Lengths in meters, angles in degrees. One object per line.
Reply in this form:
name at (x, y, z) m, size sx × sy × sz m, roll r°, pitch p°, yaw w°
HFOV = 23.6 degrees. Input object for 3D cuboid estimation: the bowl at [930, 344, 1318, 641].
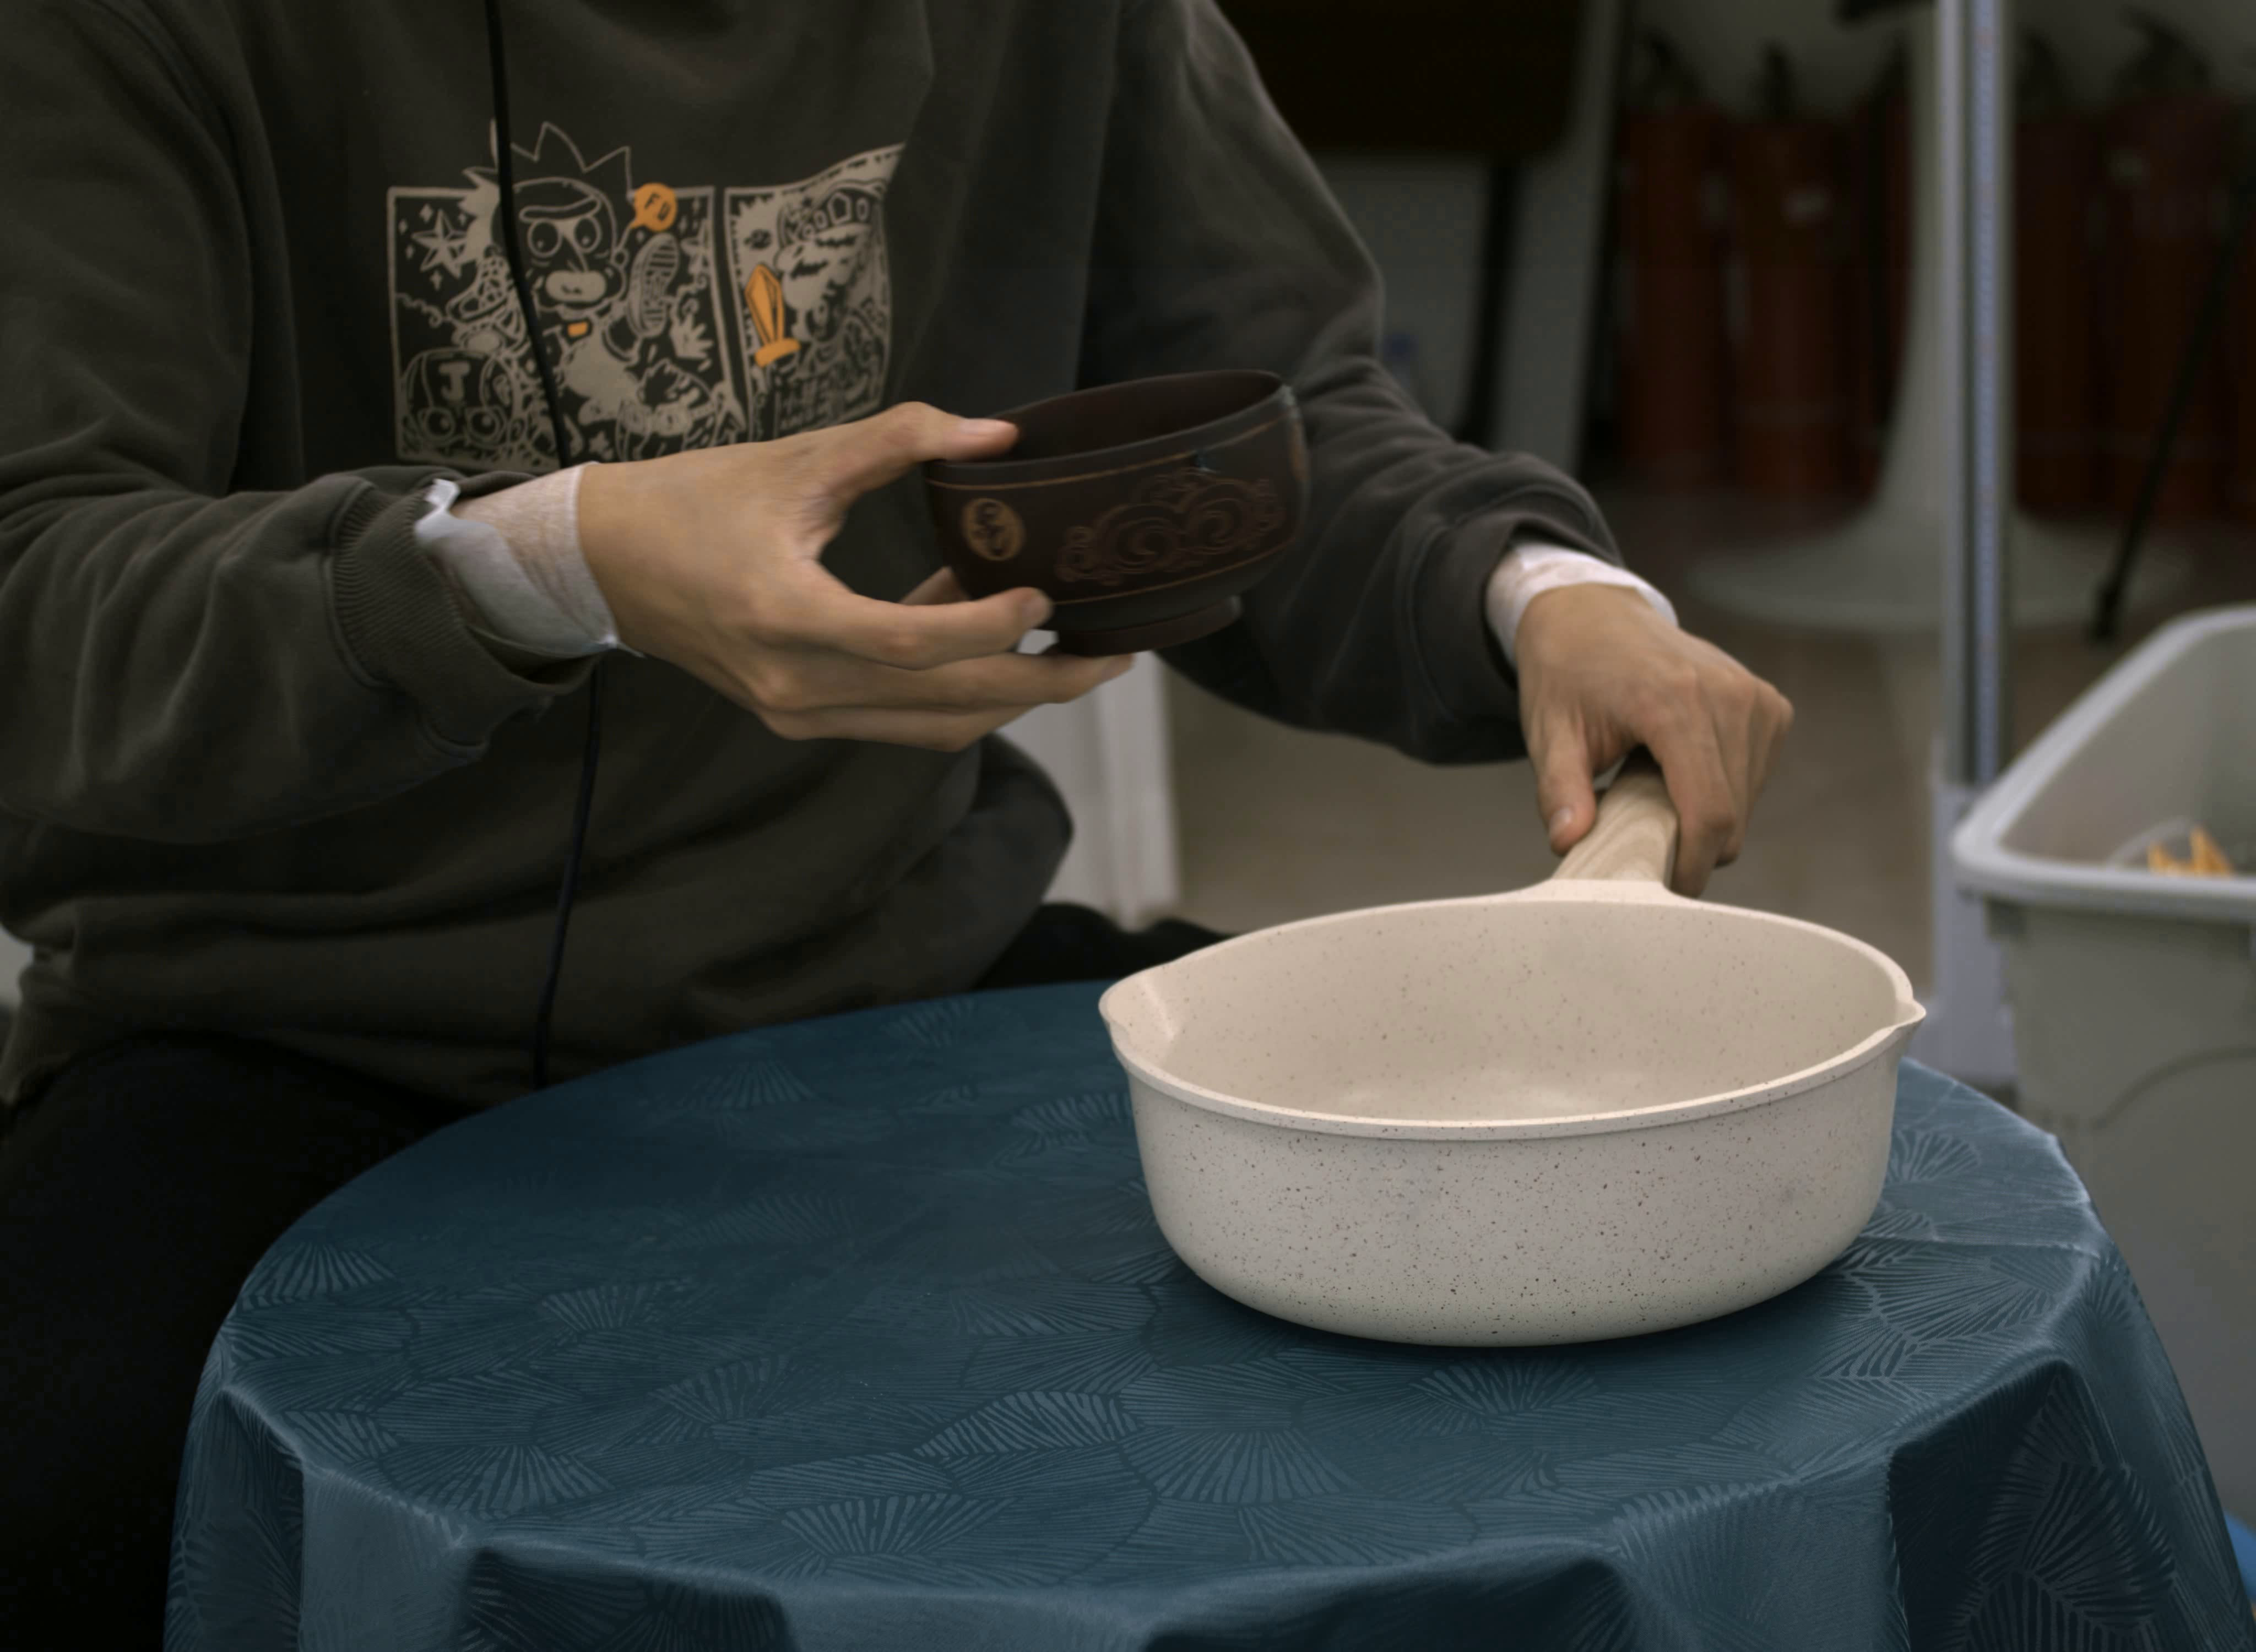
bowl at (0.003, -0.097, 1.640) m, size 0.117 × 0.070 × 0.118 m, roll -13°, pitch 14°, yaw 2°

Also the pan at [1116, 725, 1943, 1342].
pan at (0.151, 0.064, 1.760) m, size 0.263 × 0.103 × 0.431 m, roll -2°, pitch 13°, yaw 18°
